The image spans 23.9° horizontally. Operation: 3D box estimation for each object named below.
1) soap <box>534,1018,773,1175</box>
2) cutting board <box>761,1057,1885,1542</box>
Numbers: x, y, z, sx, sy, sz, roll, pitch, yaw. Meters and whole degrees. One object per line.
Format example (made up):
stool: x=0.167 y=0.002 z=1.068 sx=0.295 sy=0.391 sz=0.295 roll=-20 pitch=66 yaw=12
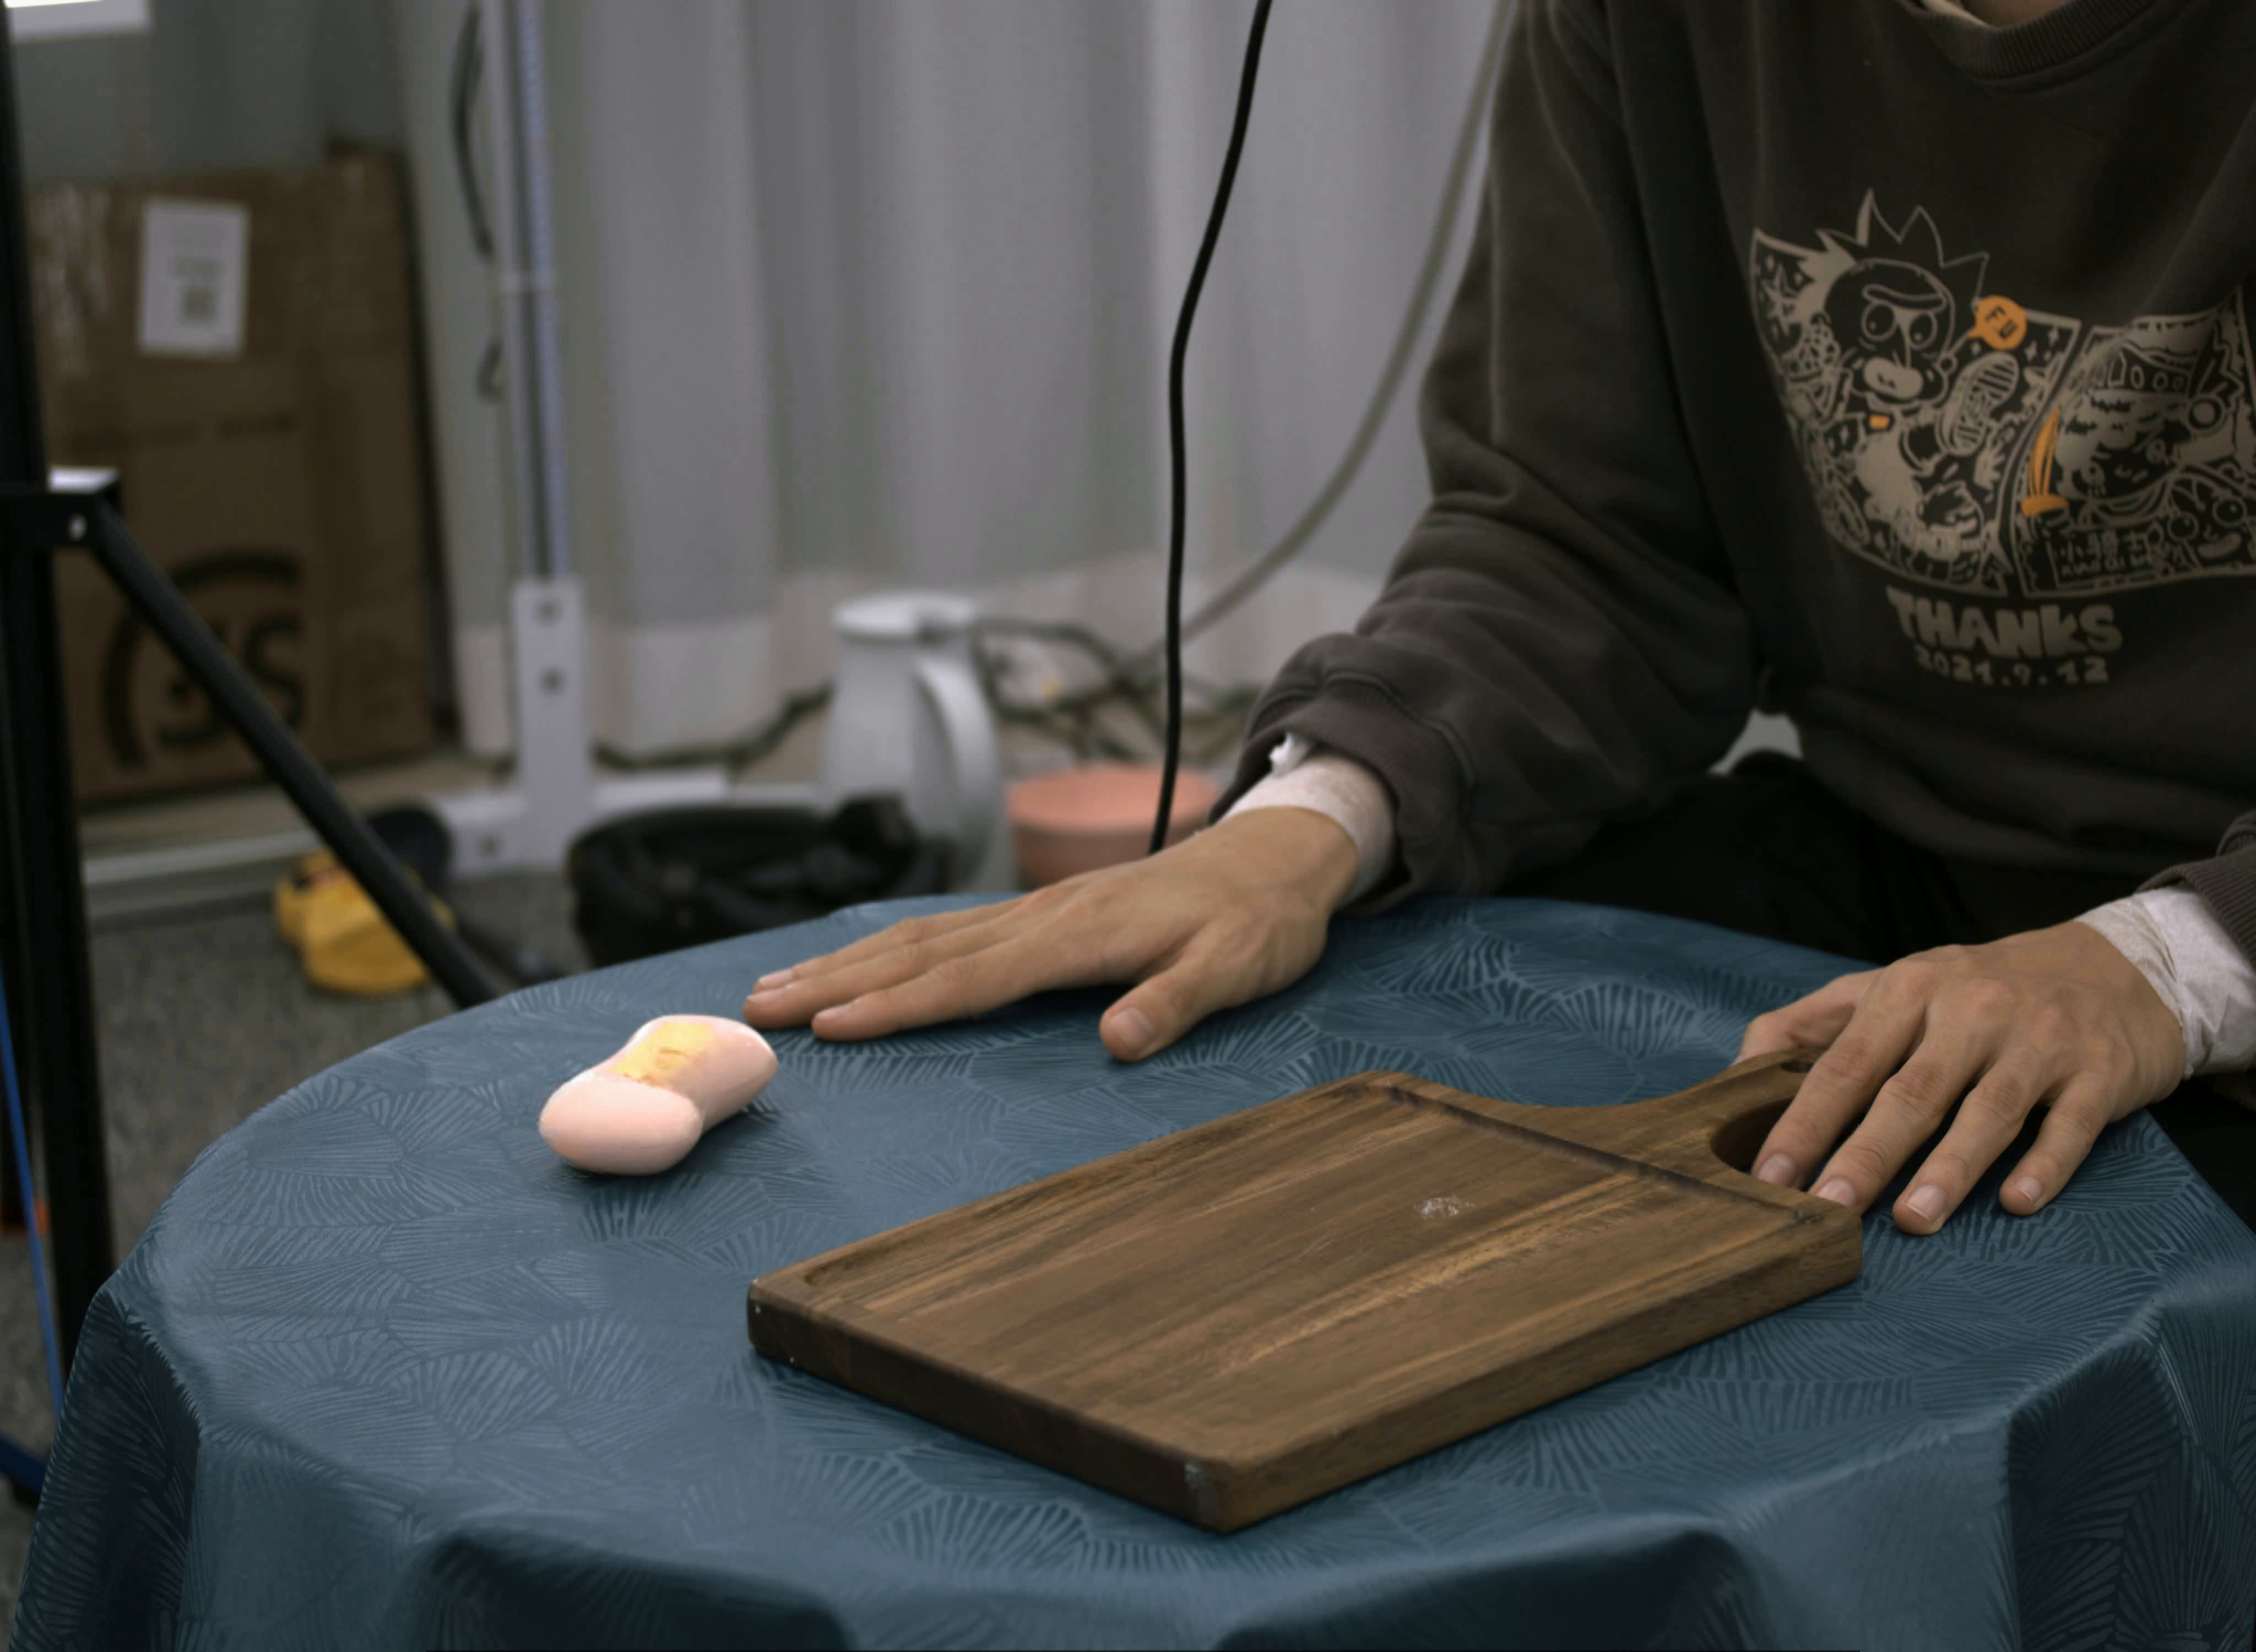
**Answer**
soap: x=-0.144 y=0.082 z=1.627 sx=0.051 sy=0.030 sz=0.093 roll=4 pitch=15 yaw=20
cutting board: x=0.091 y=0.117 z=1.477 sx=0.344 sy=0.023 sz=0.206 roll=-15 pitch=20 yaw=-38
